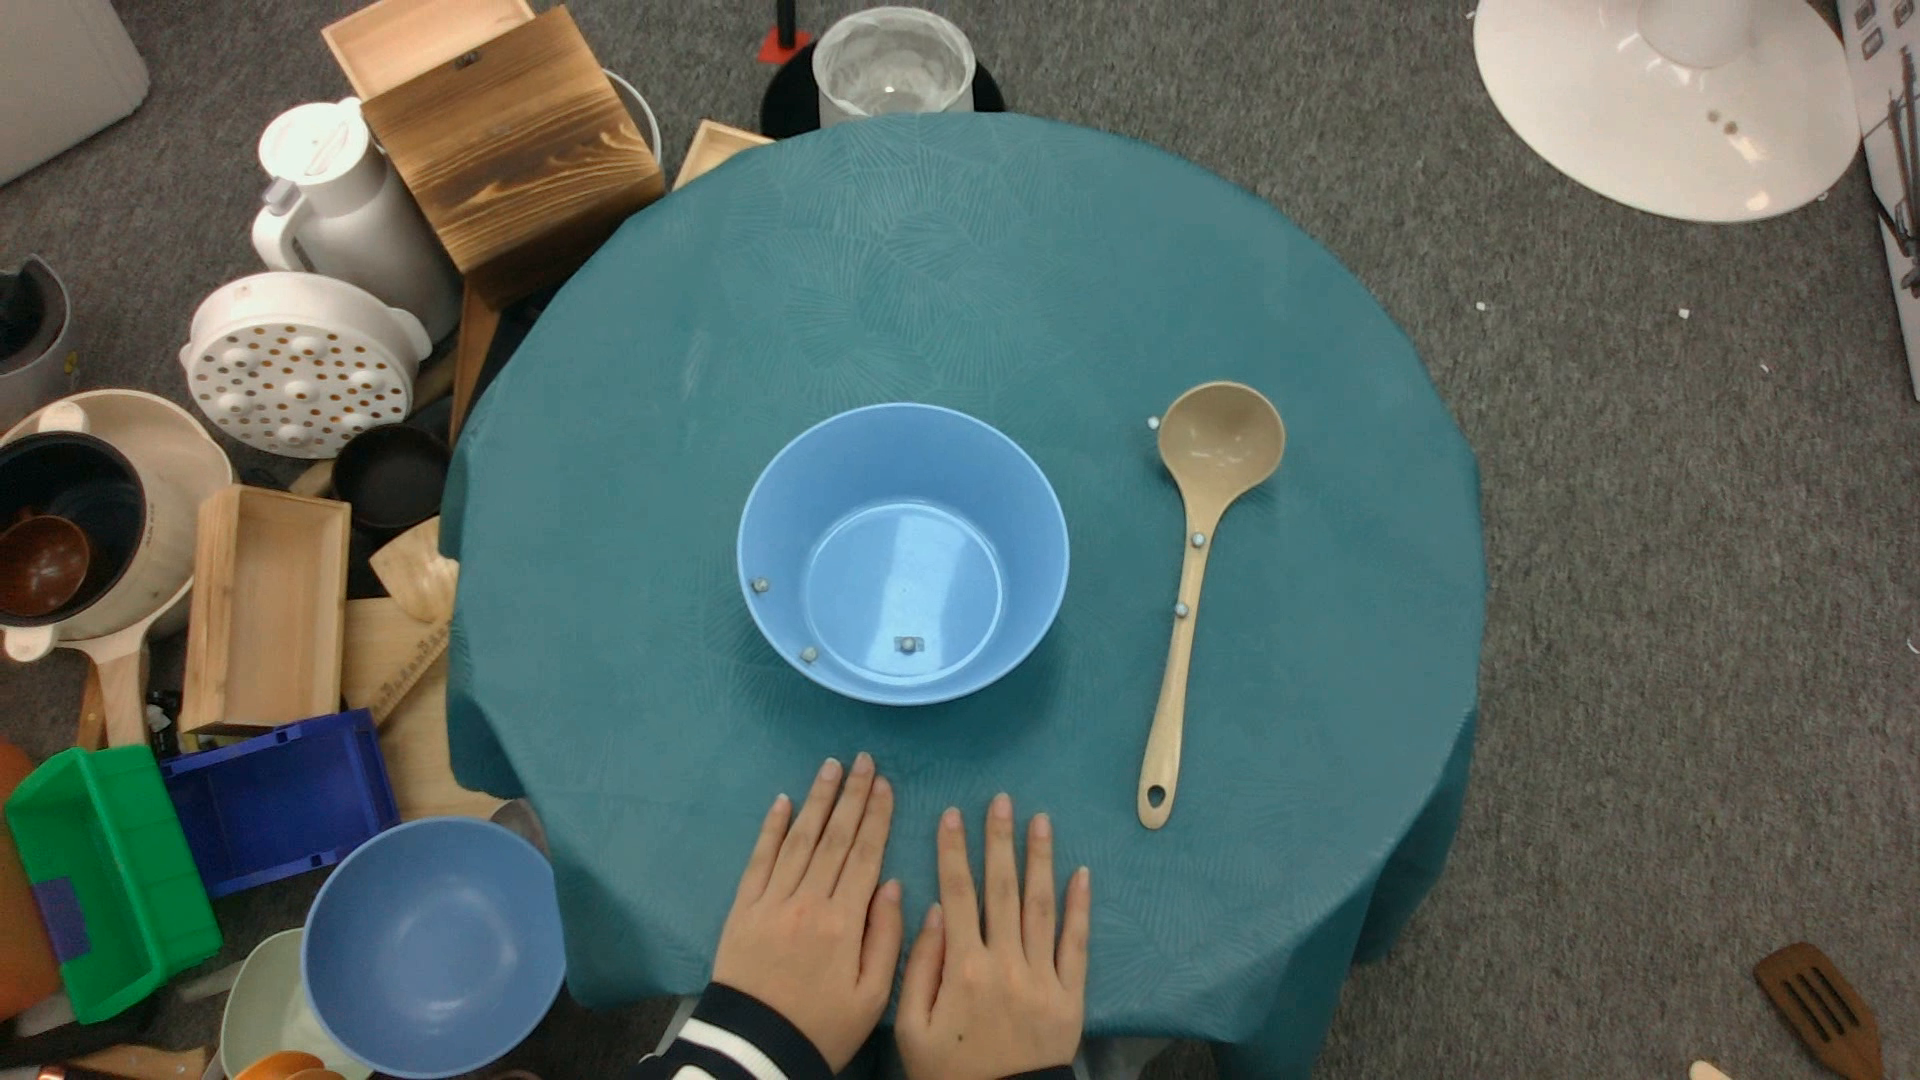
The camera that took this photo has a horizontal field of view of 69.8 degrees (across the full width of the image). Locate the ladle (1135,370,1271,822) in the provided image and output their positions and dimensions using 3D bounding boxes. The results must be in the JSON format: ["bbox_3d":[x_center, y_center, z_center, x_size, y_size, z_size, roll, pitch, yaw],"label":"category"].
[{"bbox_3d":[0.125,0.023,0.757,0.072,0.072,0.255,10,64,4],"label":"ladle"}]

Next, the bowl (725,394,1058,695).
[{"bbox_3d":[-0.037,0.011,0.754,0.176,0.070,0.176,1,64,-2],"label":"bowl"}]
